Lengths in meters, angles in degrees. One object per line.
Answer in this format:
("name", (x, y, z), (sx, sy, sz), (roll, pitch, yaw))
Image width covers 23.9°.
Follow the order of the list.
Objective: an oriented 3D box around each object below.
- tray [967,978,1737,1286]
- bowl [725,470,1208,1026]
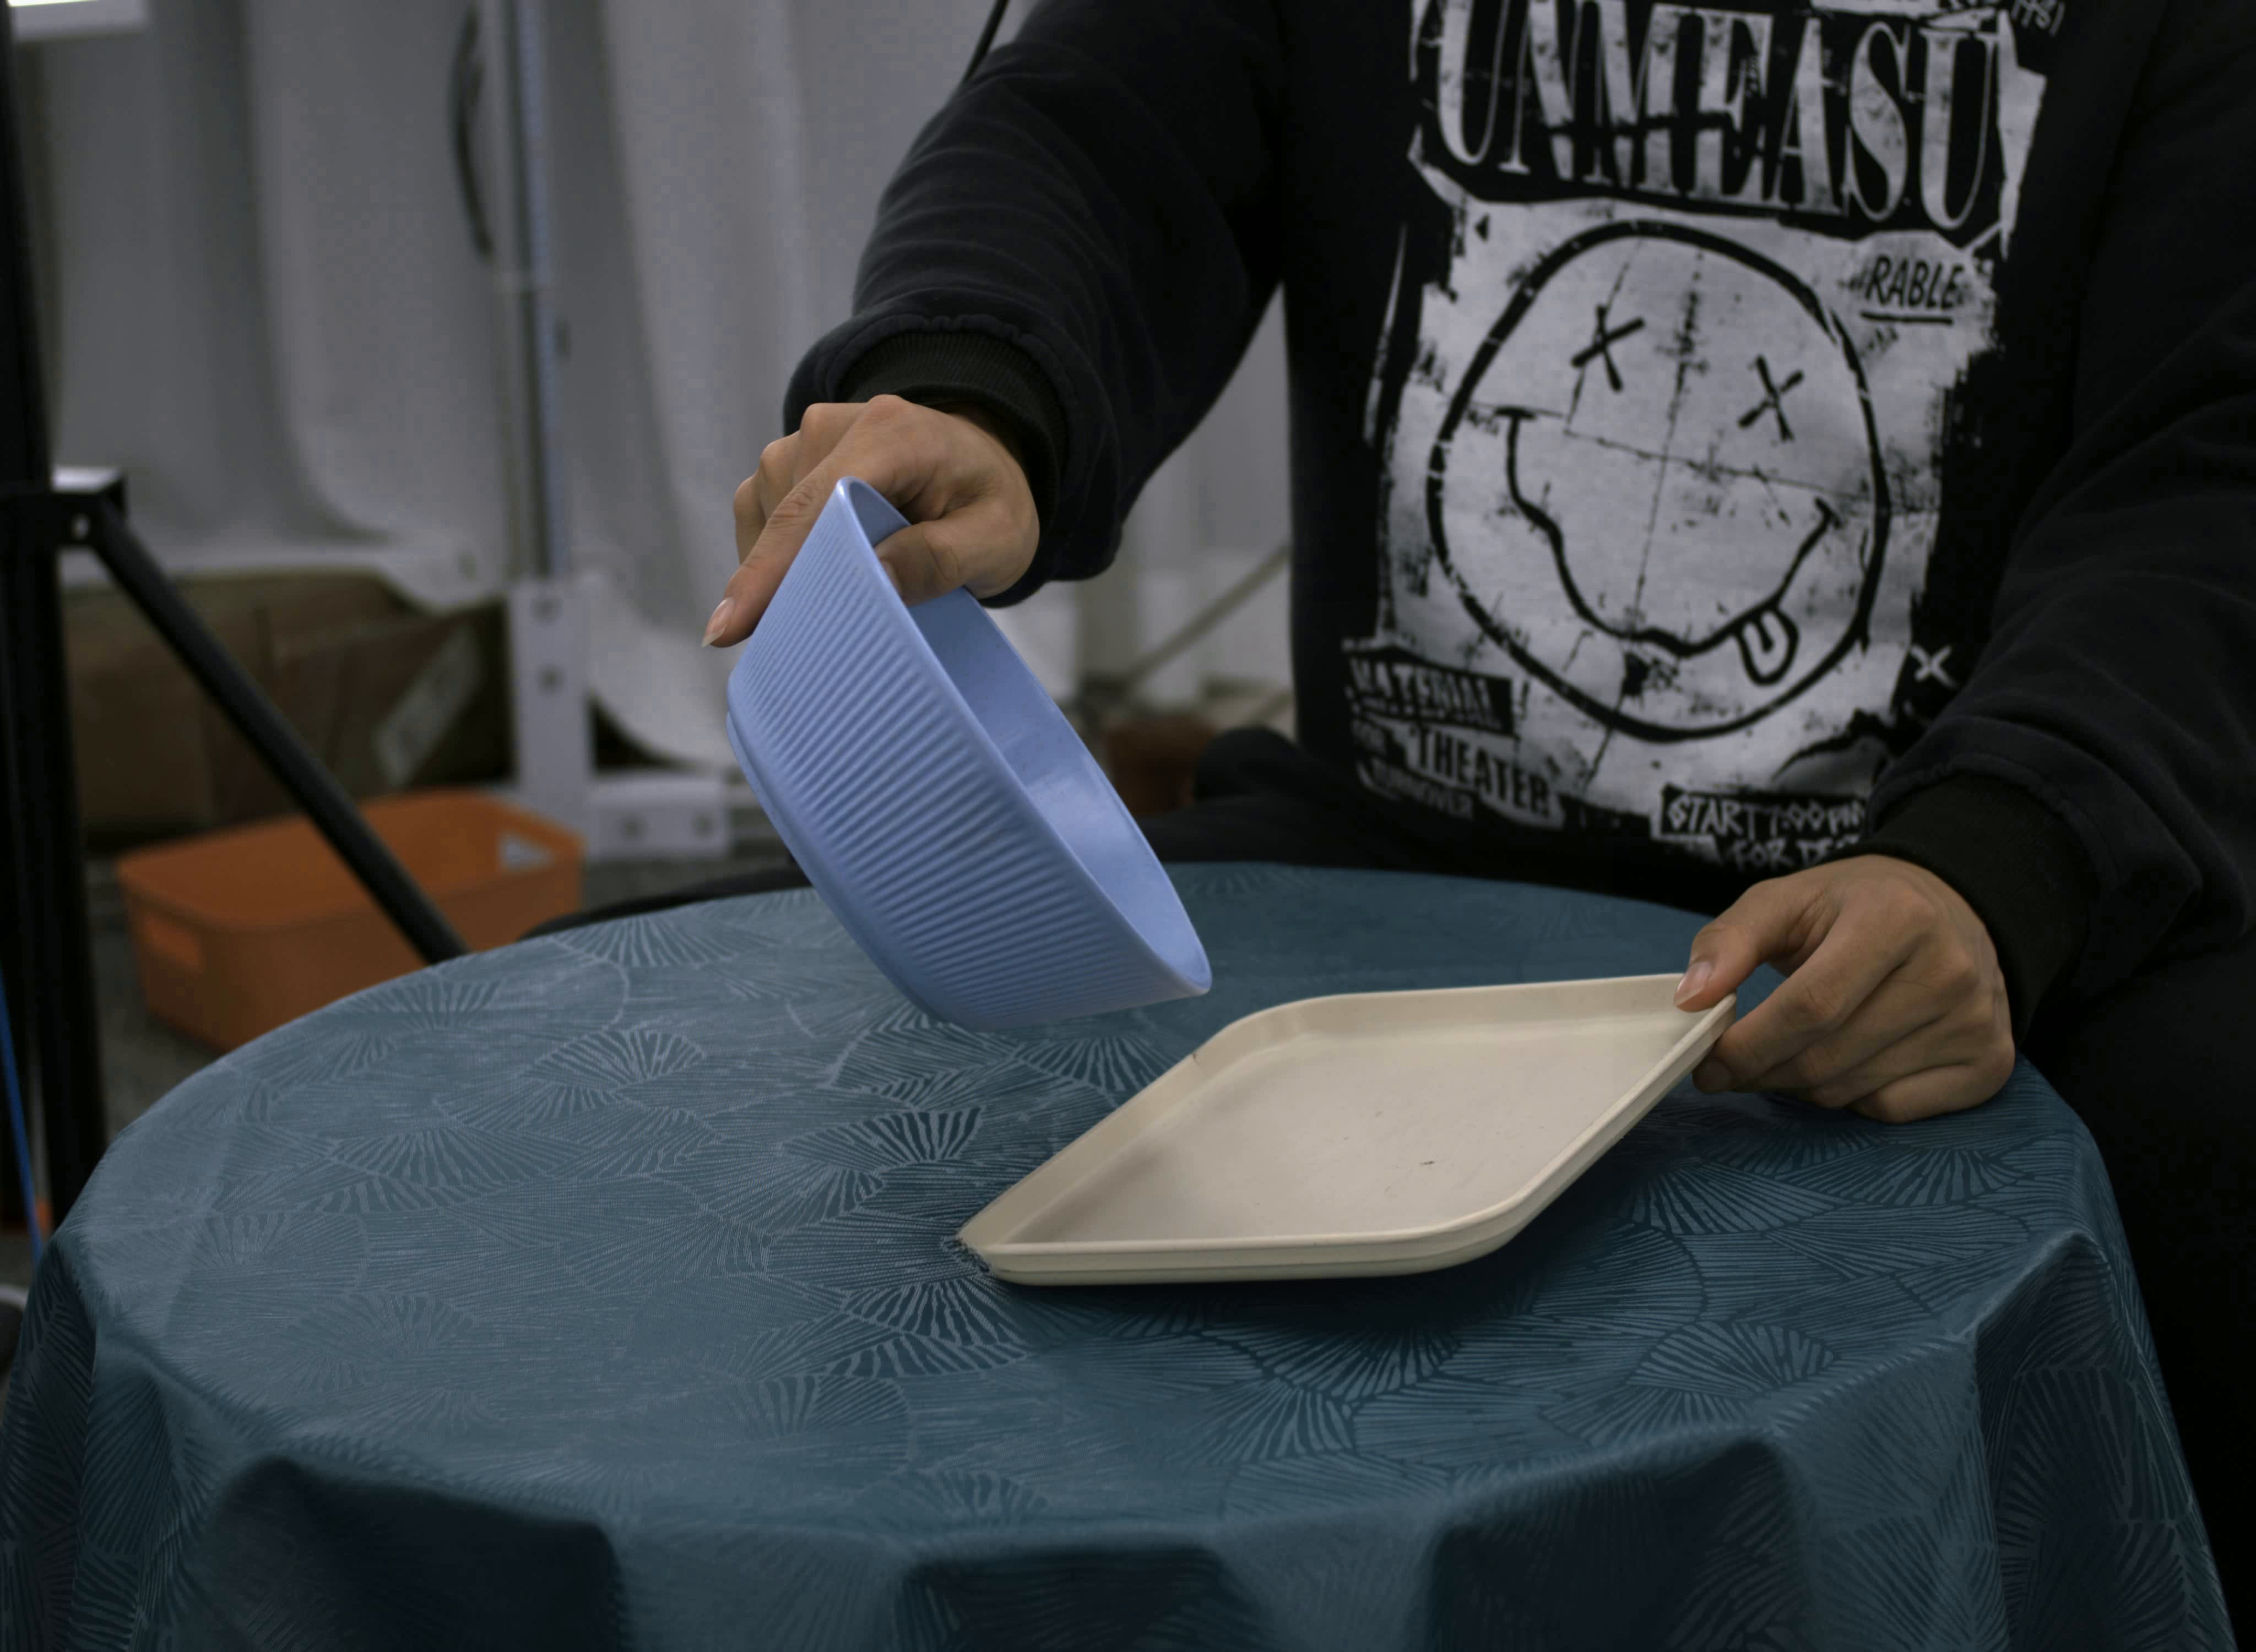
("tray", (0.070, 0.089, 1.542), (0.174, 0.017, 0.236), (-4, 14, 27))
("bowl", (-0.054, -0.010, 1.492), (0.070, 0.174, 0.177), (-36, 14, 6))
